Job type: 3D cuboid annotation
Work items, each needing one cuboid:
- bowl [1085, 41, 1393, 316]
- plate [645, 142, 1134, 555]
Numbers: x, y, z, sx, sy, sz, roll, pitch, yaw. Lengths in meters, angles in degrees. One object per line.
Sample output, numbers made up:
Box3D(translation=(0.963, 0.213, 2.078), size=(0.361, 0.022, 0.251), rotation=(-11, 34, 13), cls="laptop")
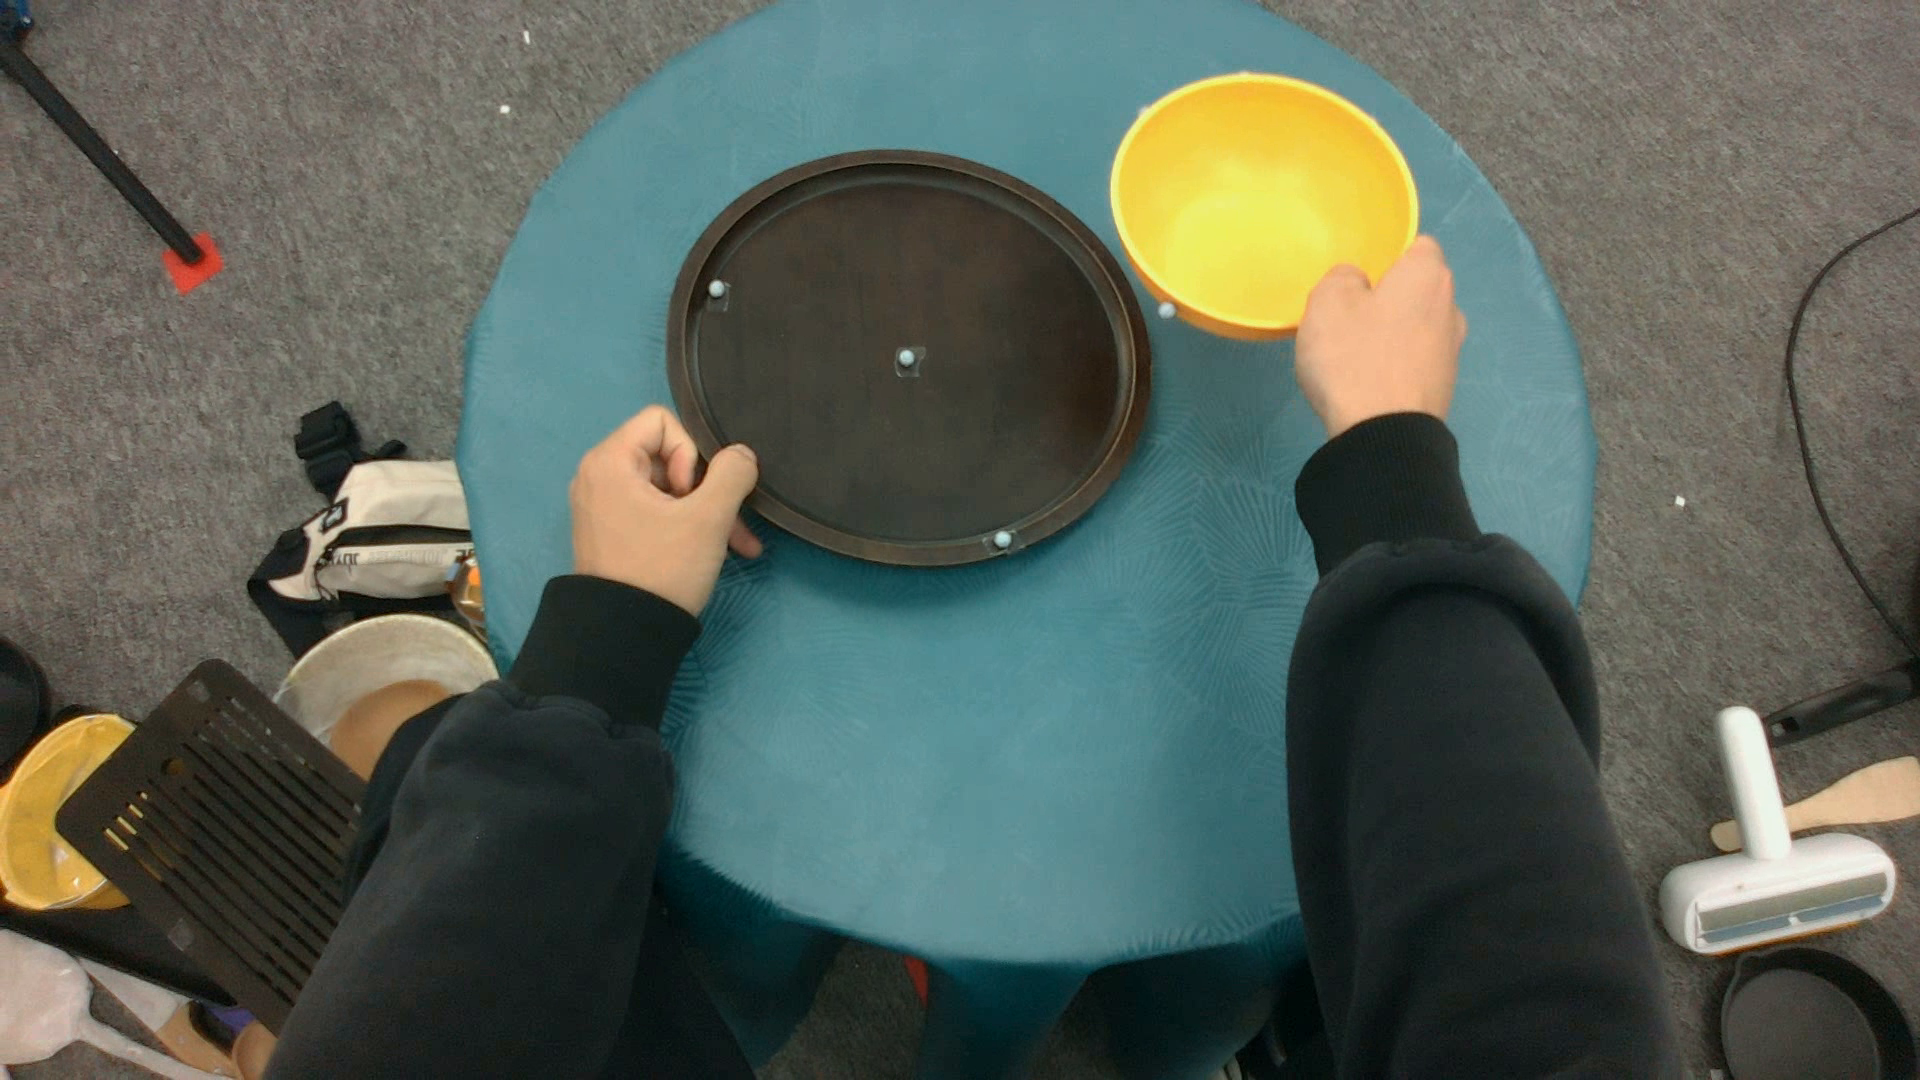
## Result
Box3D(translation=(0.132, -0.166, 0.674), size=(0.145, 0.060, 0.145), rotation=(0, 72, 1), cls="bowl")
Box3D(translation=(-0.034, -0.105, 0.717), size=(0.255, 0.029, 0.255), rotation=(4, 64, -9), cls="plate")
